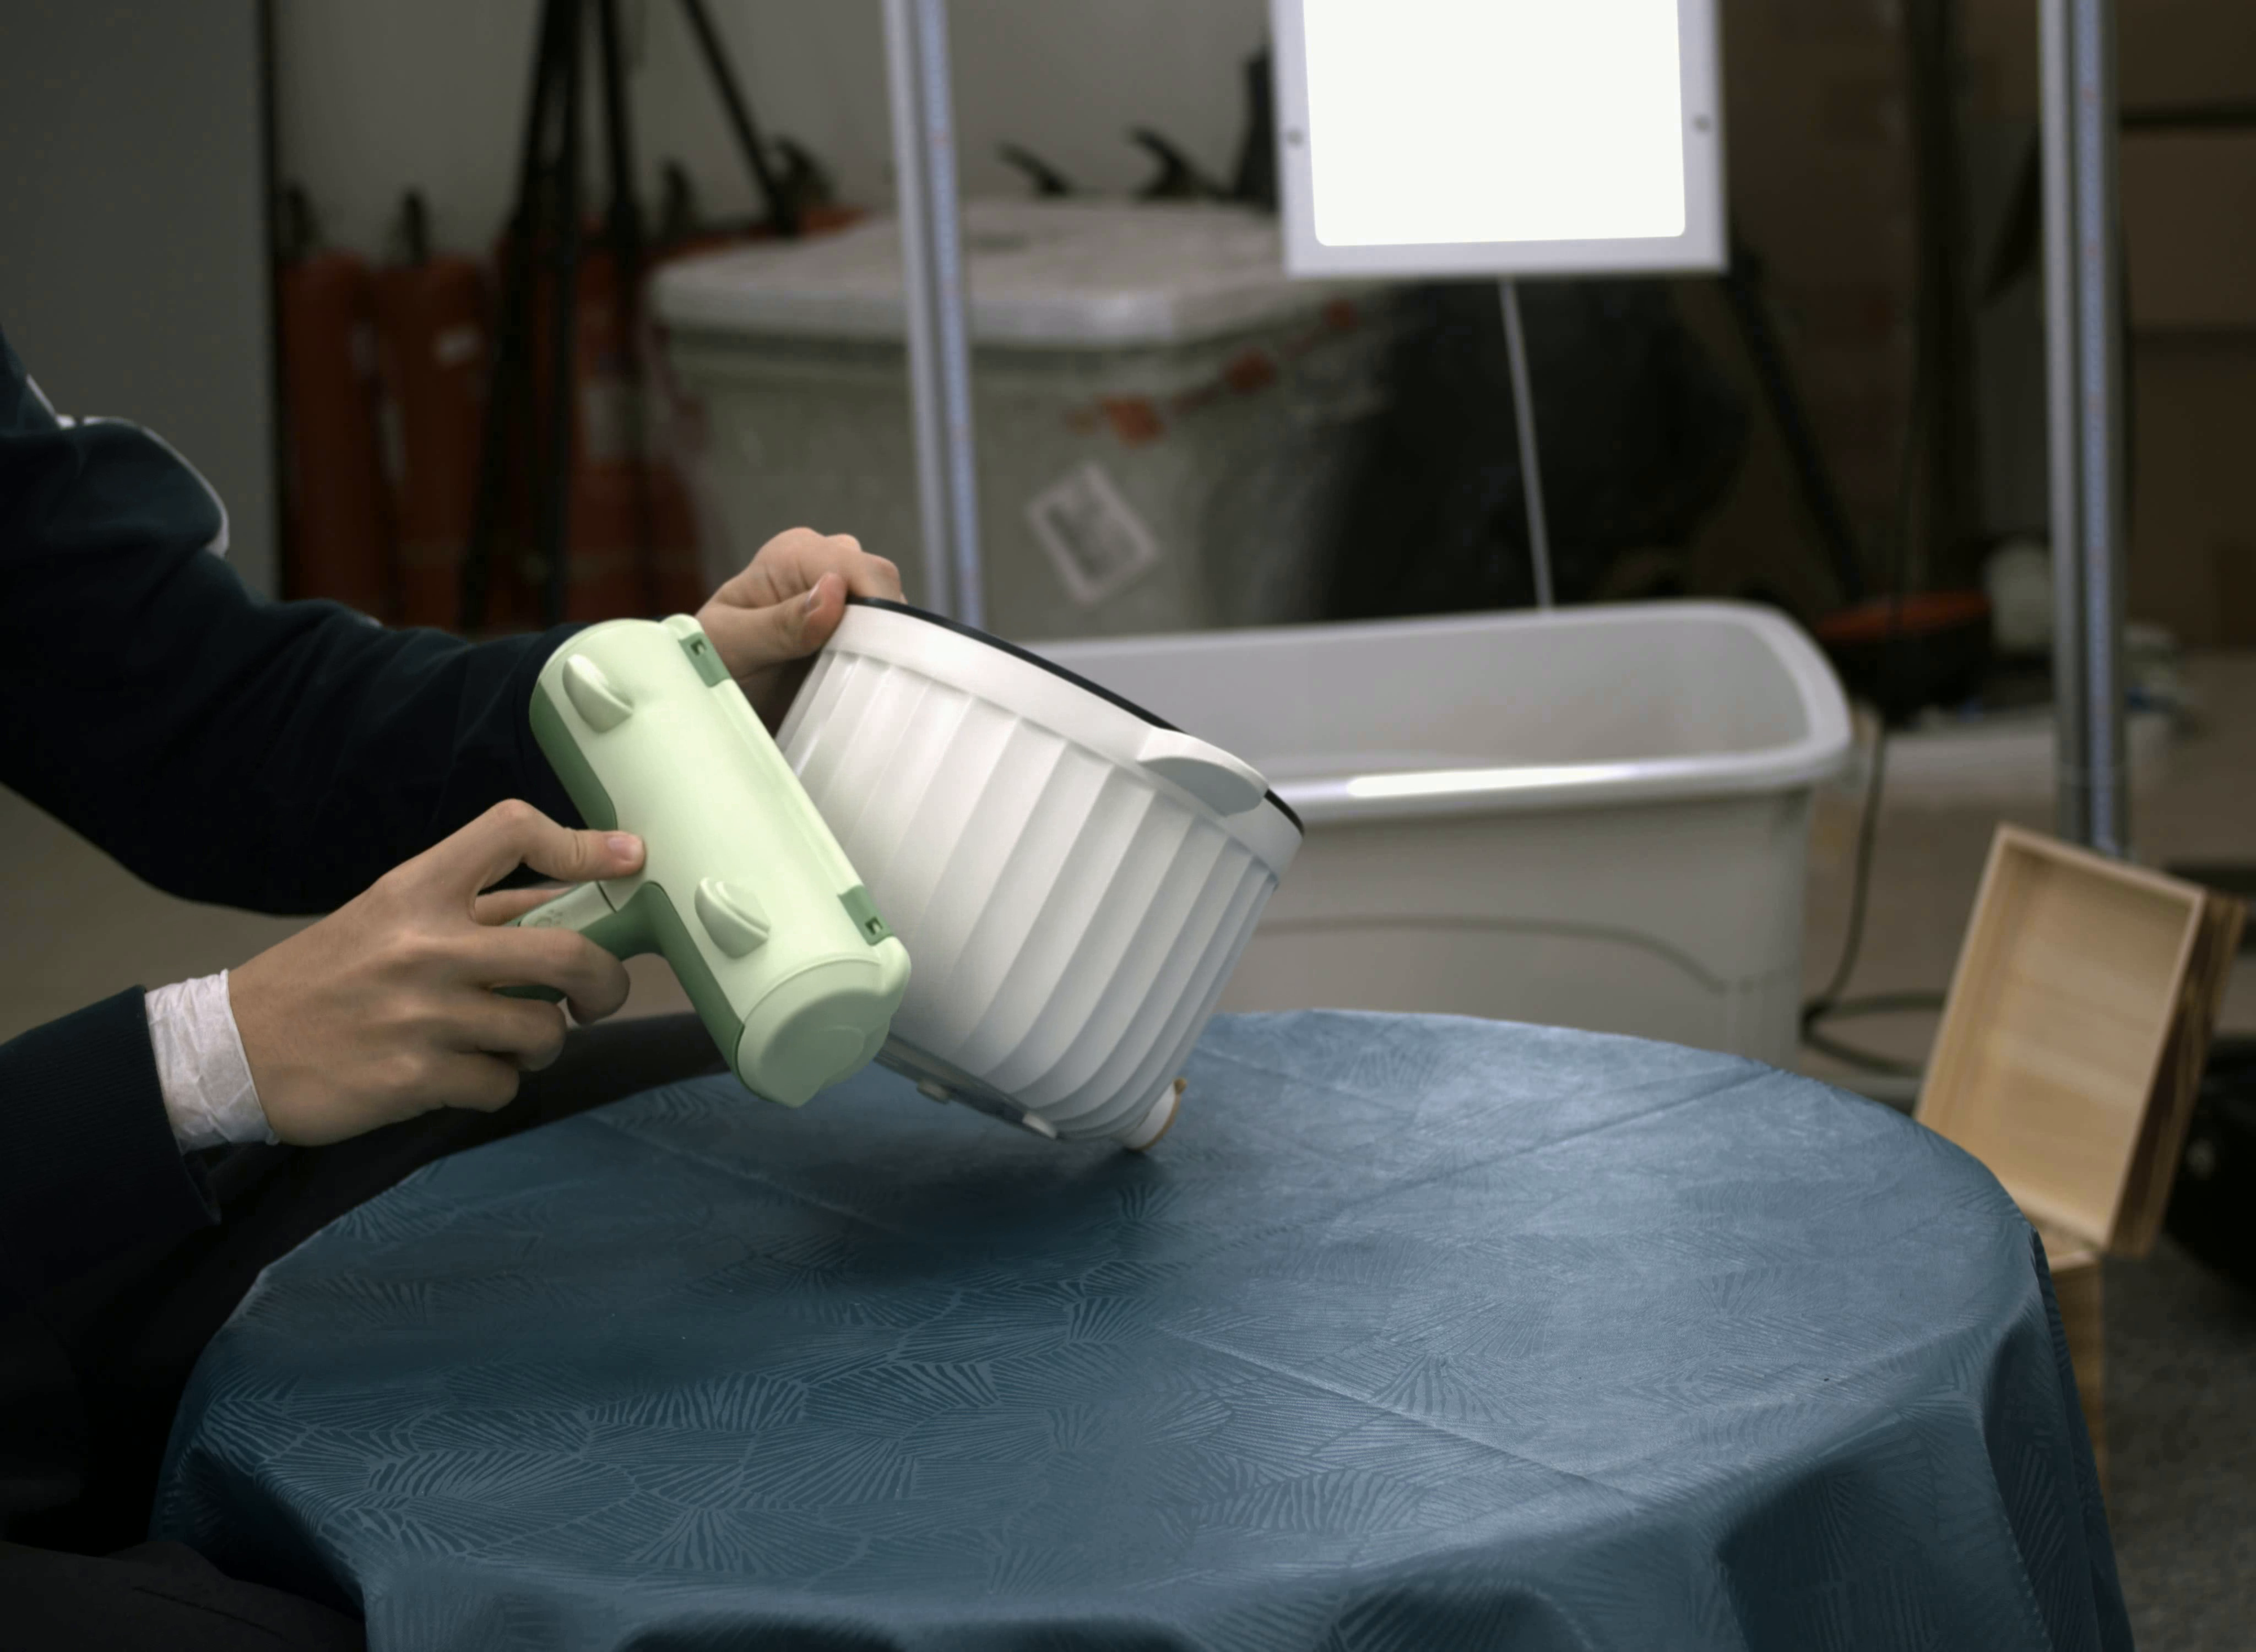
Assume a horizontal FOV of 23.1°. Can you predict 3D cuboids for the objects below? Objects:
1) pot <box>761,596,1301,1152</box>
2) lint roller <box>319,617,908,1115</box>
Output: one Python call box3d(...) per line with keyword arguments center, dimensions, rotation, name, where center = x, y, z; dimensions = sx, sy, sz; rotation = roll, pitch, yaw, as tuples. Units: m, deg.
box3d(center=(-0.046, 0.024, 1.904), dimensions=(0.187, 0.142, 0.245), rotation=(28, -7, -29), name="pot")
box3d(center=(-0.189, 0.029, 1.799), dimensions=(0.182, 0.082, 0.200), rotation=(-27, 49, -8), name="lint roller")
